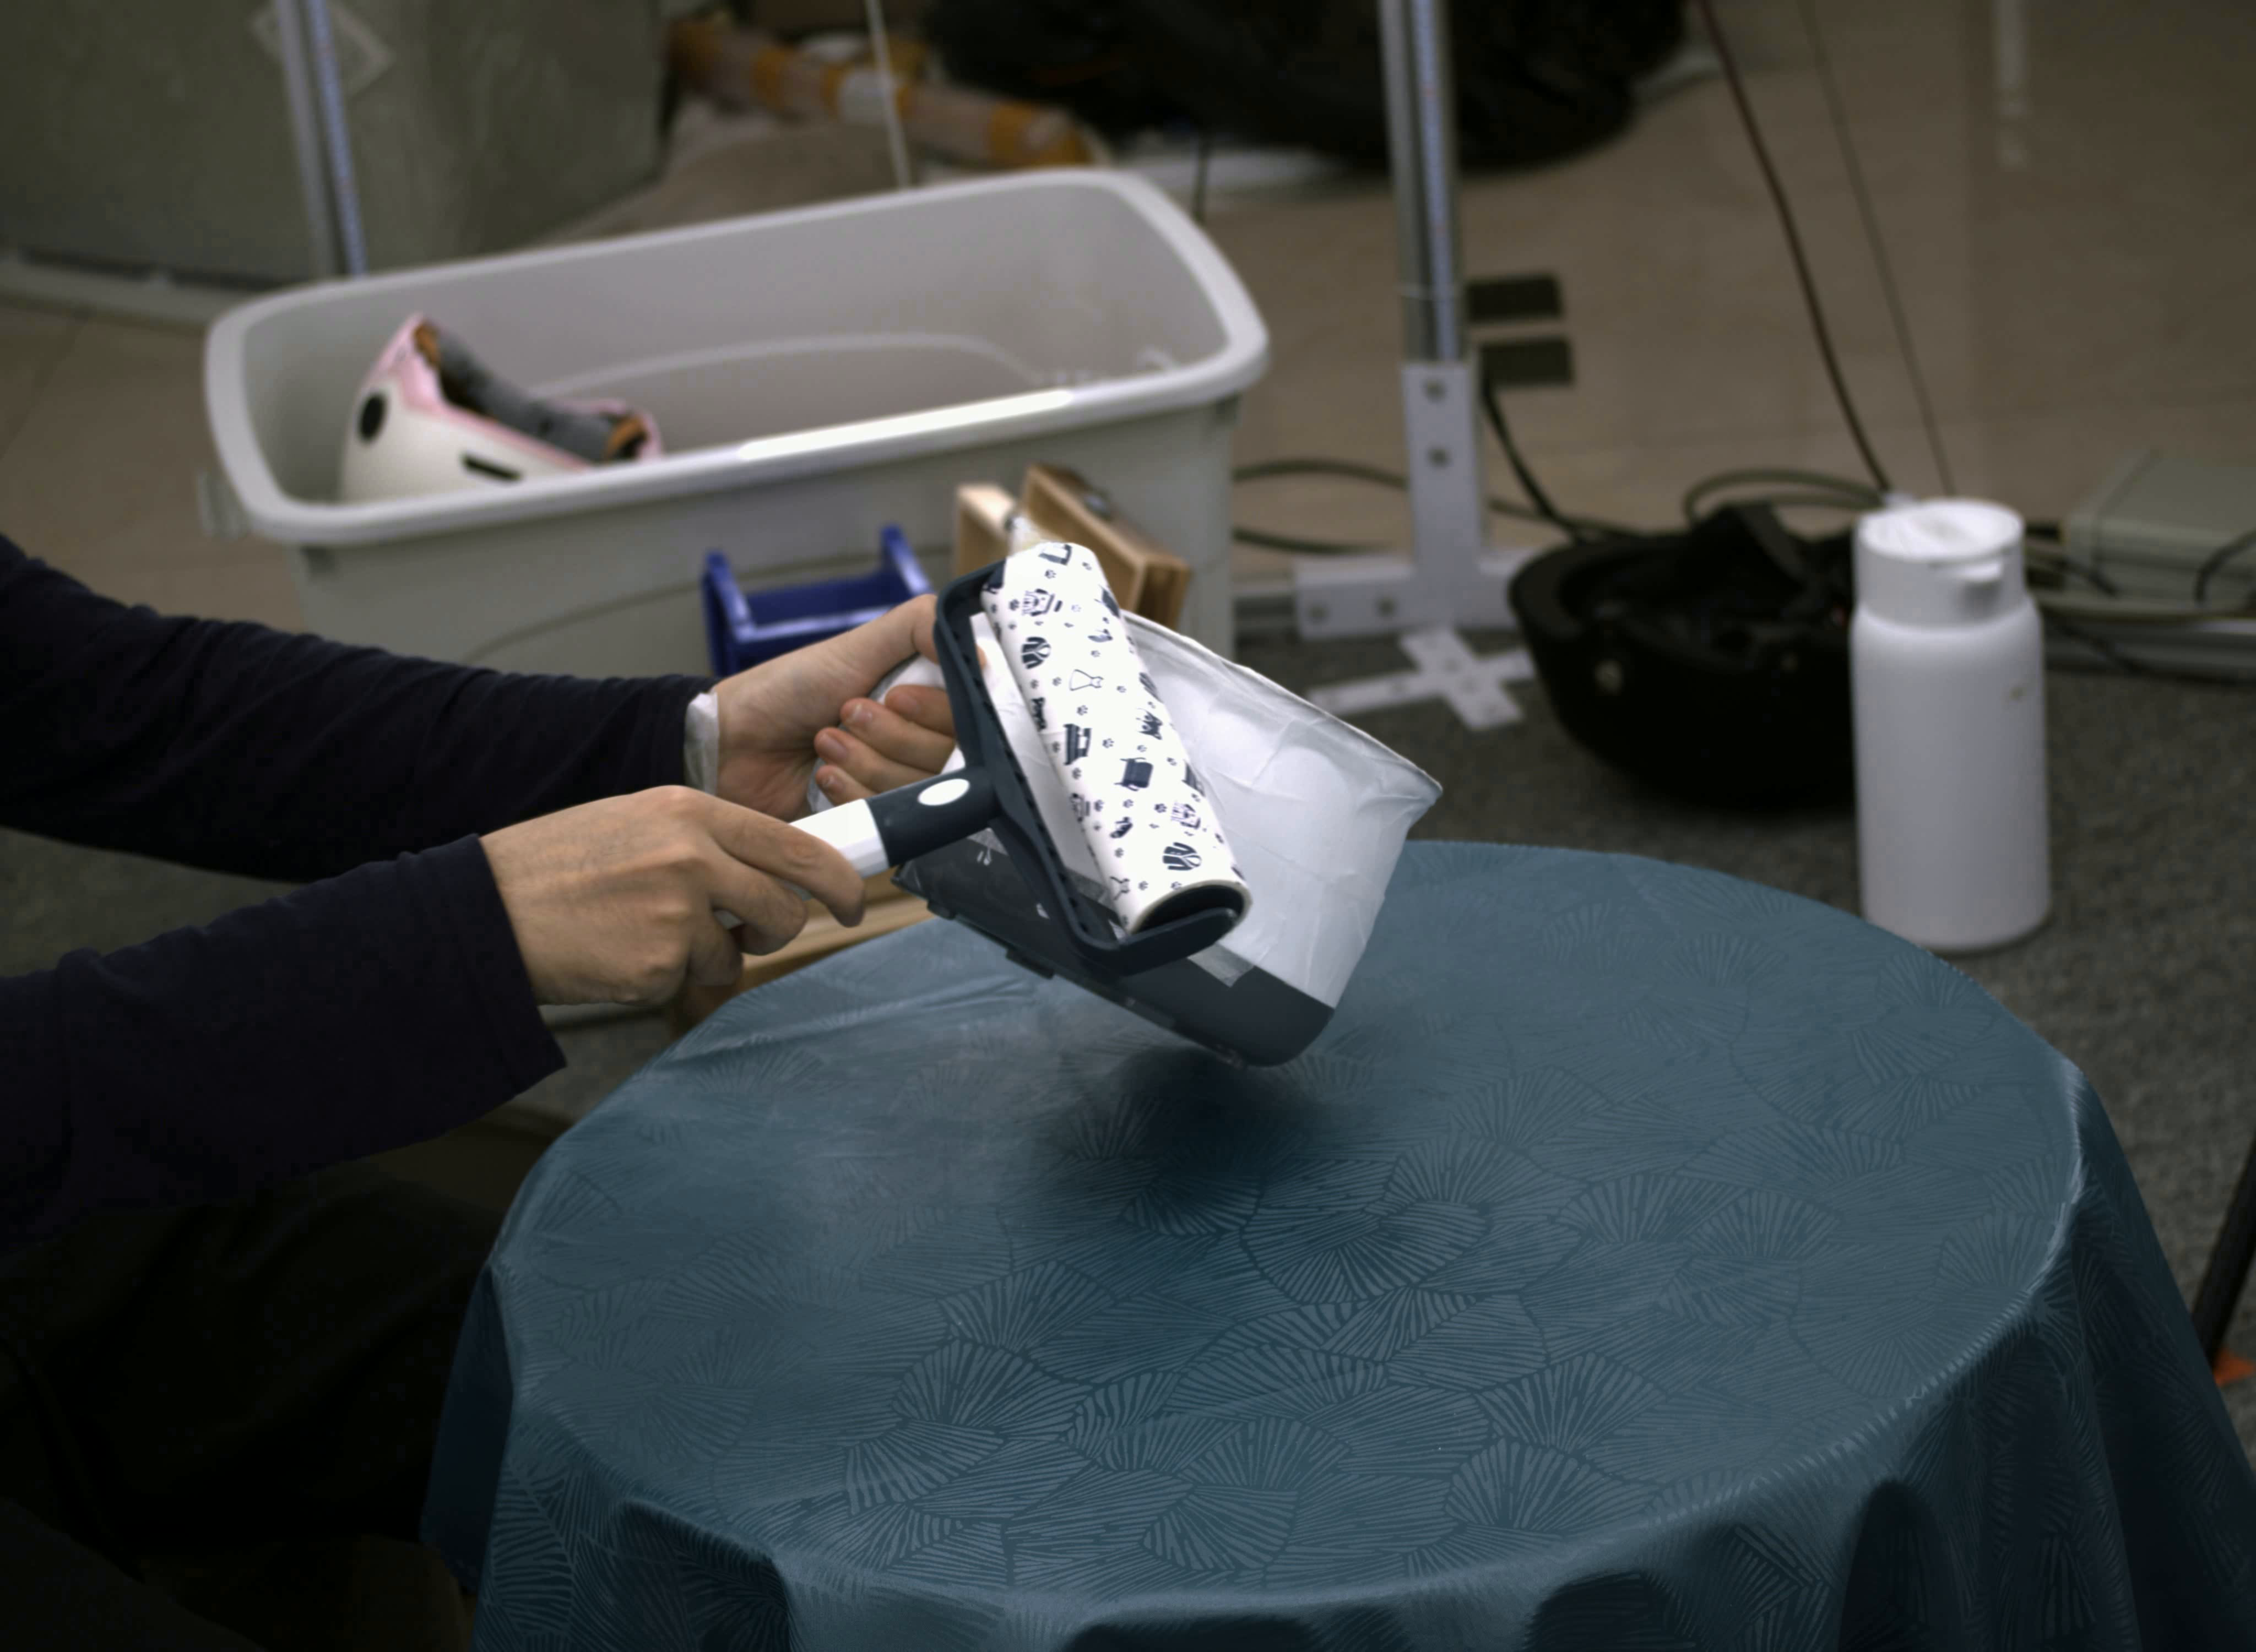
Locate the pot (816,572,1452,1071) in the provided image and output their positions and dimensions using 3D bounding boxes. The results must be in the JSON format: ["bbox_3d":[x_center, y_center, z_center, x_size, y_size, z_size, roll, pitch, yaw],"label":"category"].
[{"bbox_3d":[-0.006,-0.011,2.196,0.232,0.136,0.180,29,-5,22],"label":"pot"}]

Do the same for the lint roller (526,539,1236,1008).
[{"bbox_3d":[-0.102,0.008,2.050,0.246,0.051,0.174,-22,61,-6],"label":"lint roller"}]
